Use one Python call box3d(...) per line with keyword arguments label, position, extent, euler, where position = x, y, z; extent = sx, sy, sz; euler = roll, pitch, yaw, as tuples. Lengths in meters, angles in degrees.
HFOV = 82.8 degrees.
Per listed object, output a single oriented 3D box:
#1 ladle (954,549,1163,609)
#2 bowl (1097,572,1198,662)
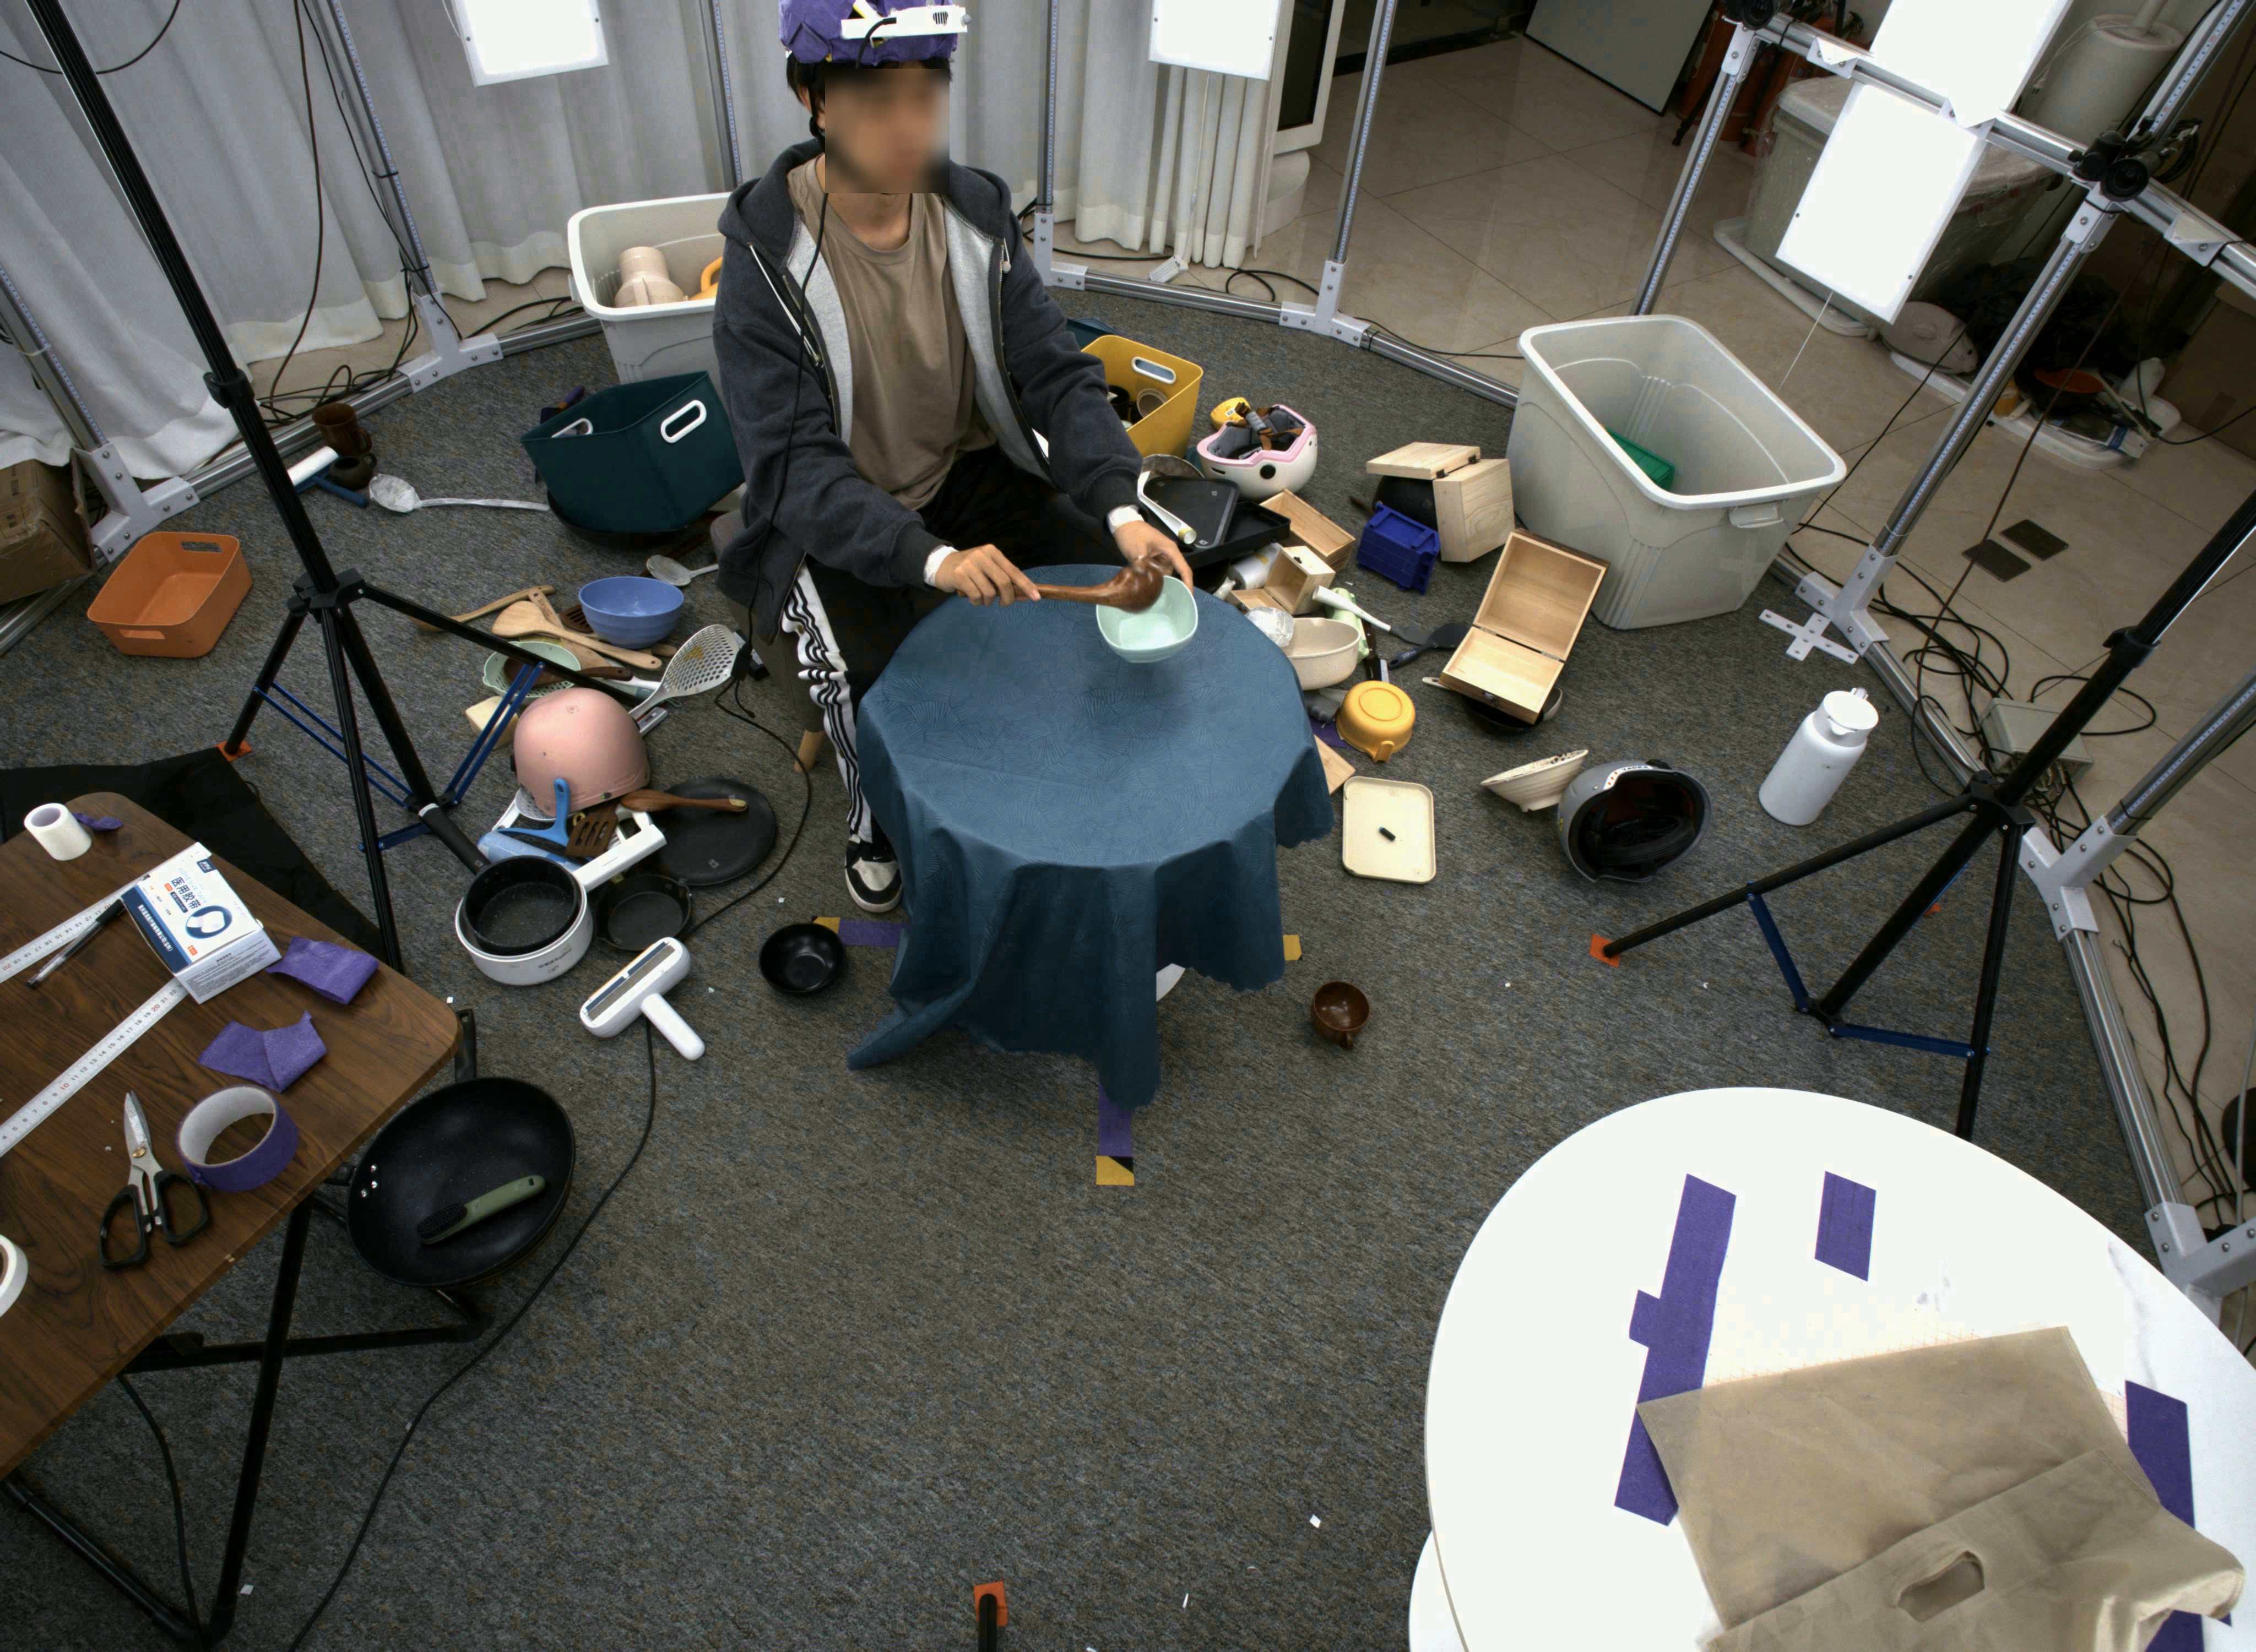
box3d(label="ladle", position=(-0.092, -0.331, 1.720), extent=(0.274, 0.080, 0.078), euler=(3, 40, 10))
box3d(label="bowl", position=(0.027, -0.283, 1.798), extent=(0.151, 0.057, 0.155), euler=(-1, 58, 2))
